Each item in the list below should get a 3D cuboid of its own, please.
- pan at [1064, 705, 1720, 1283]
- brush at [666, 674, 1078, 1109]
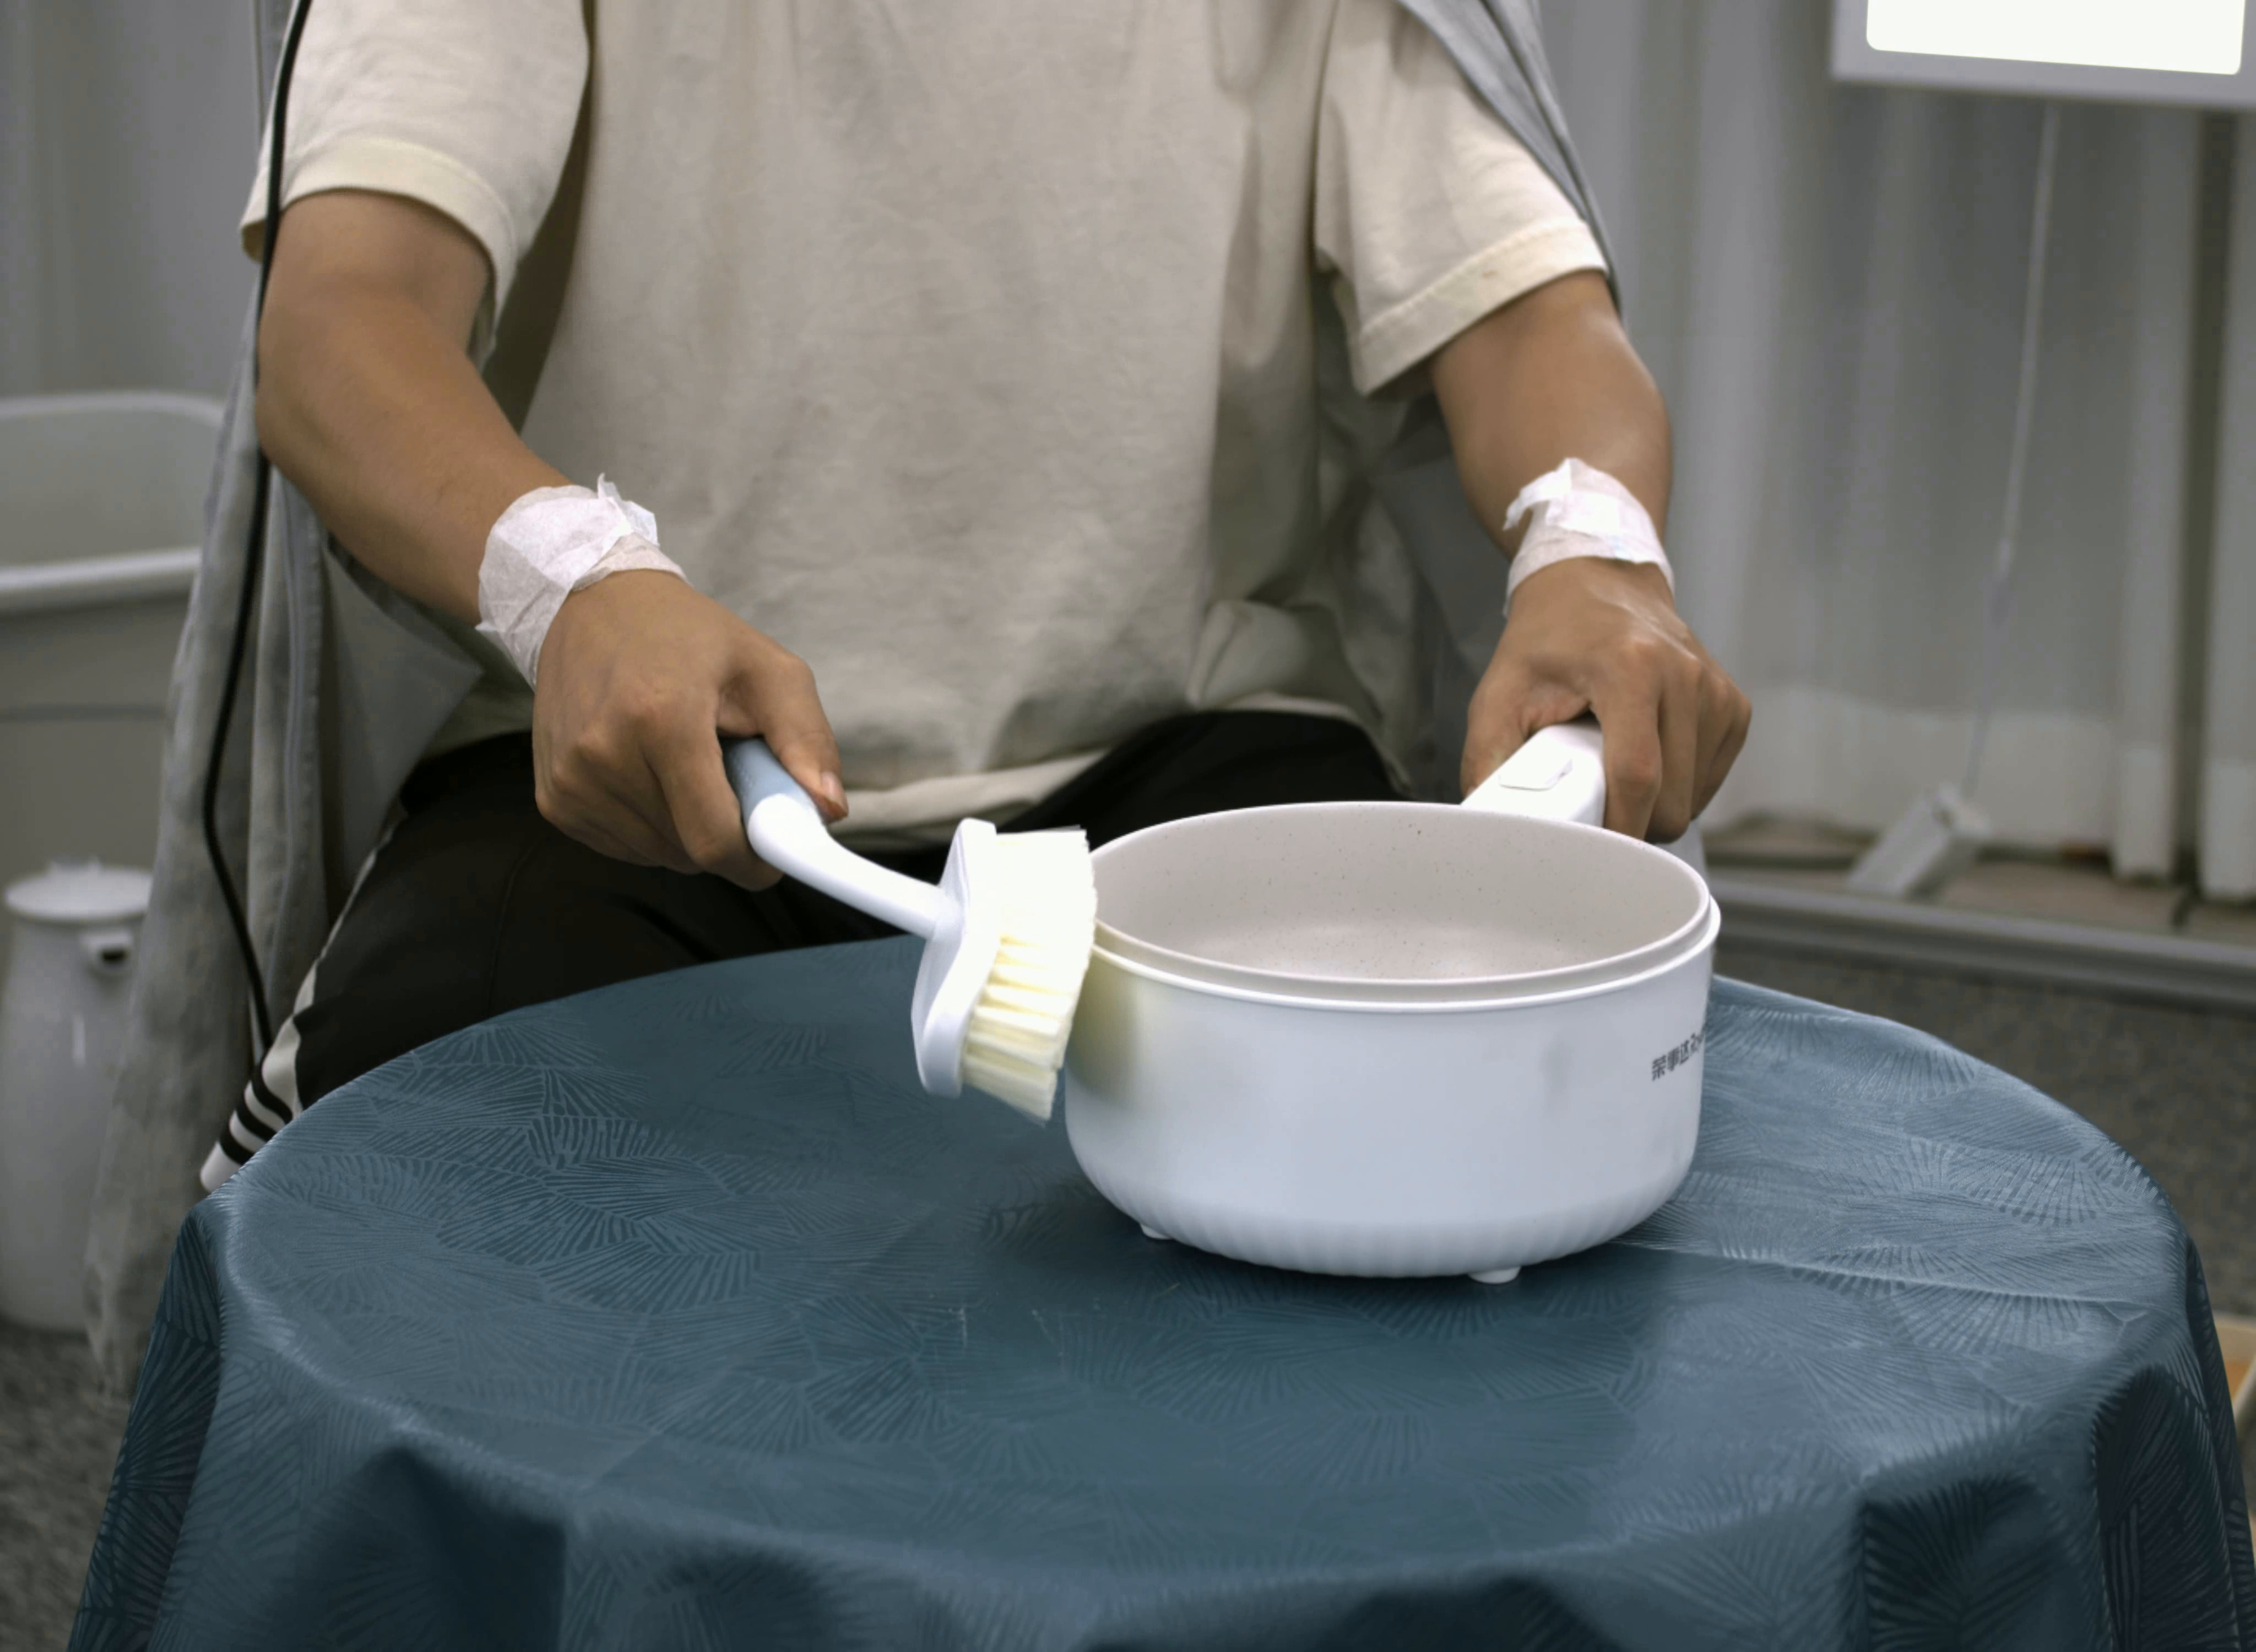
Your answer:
[{"bbox_3d":[0.104,0.047,1.673,0.199,0.103,0.355,6,16,19],"label":"pan"},{"bbox_3d":[-0.065,0.009,1.642,0.083,0.085,0.322,-41,25,0],"label":"brush"}]
